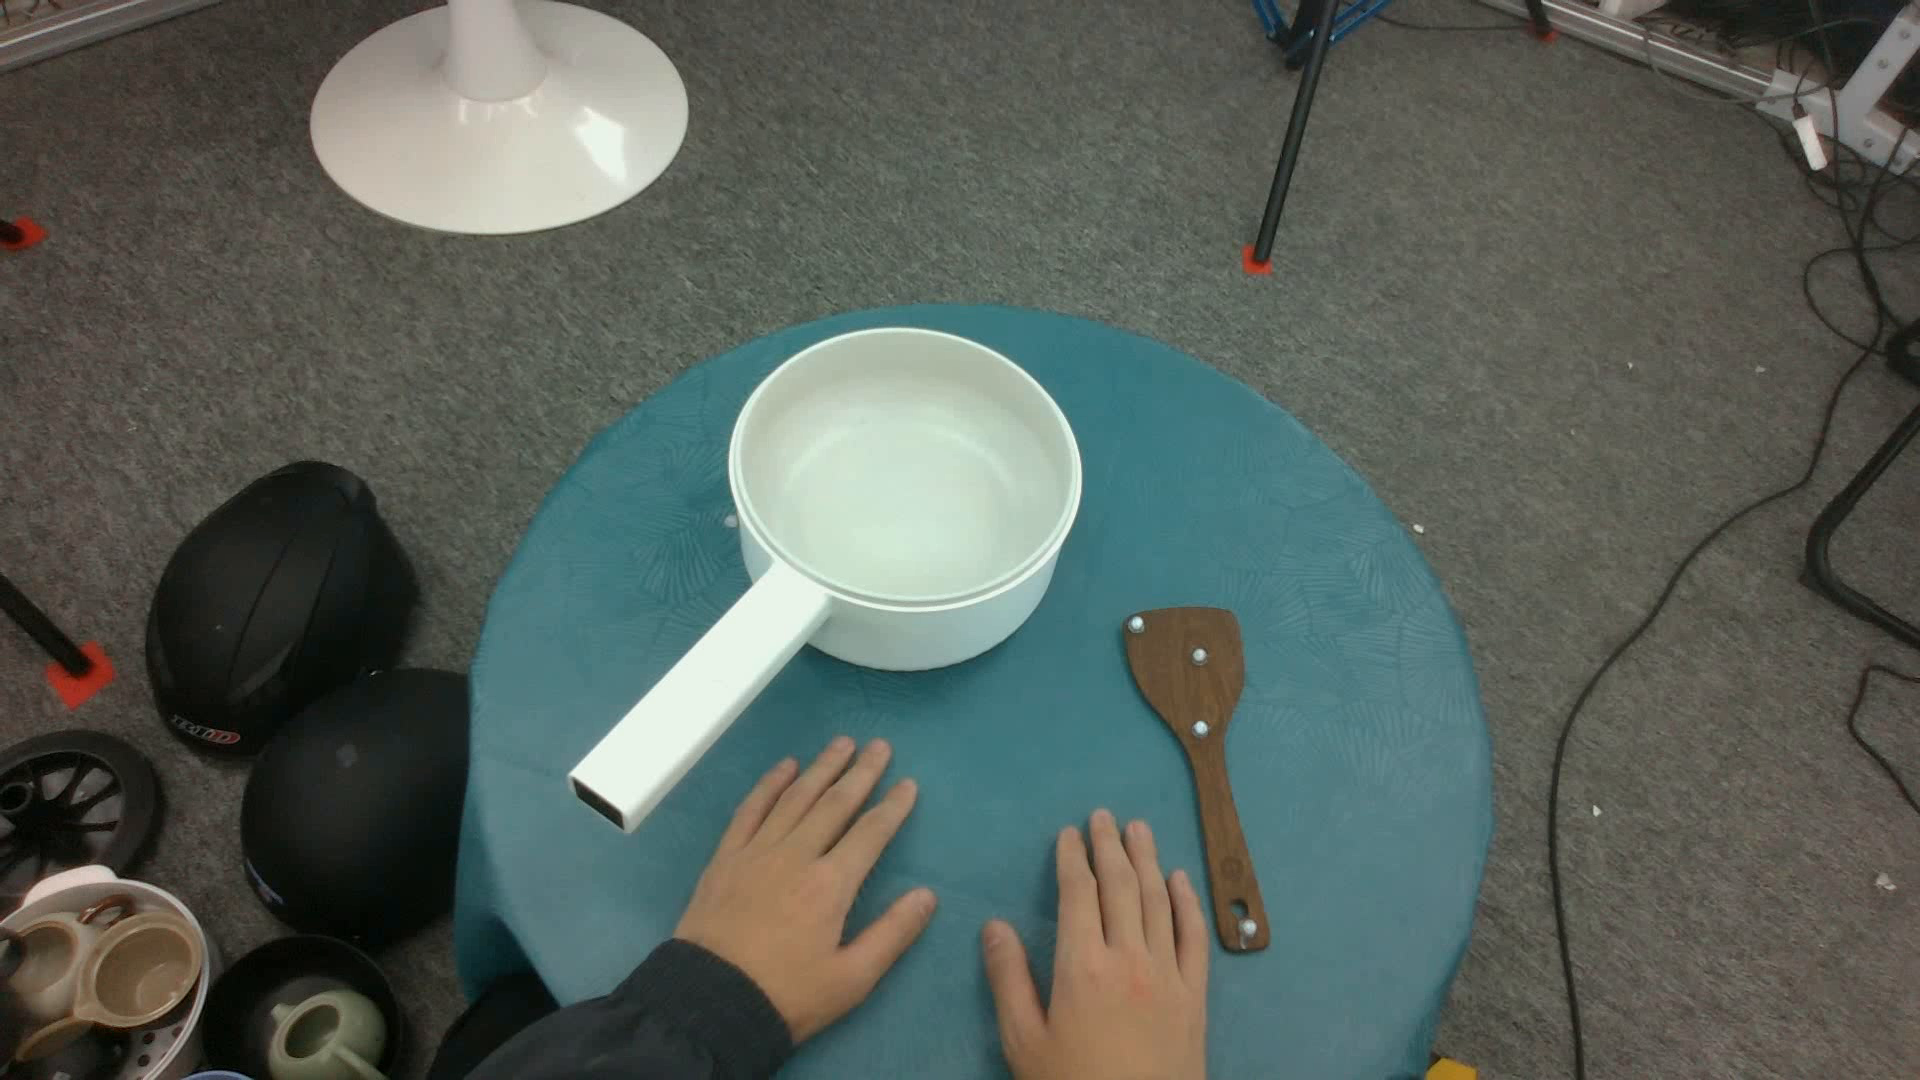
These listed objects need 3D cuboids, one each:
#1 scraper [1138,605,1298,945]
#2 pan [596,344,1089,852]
[{"bbox_3d":[0.158,0.131,0.801,0.076,0.011,0.212,-4,56,-6],"label":"scraper"},{"bbox_3d":[-0.069,0.040,0.794,0.201,0.101,0.356,29,59,16],"label":"pan"}]
